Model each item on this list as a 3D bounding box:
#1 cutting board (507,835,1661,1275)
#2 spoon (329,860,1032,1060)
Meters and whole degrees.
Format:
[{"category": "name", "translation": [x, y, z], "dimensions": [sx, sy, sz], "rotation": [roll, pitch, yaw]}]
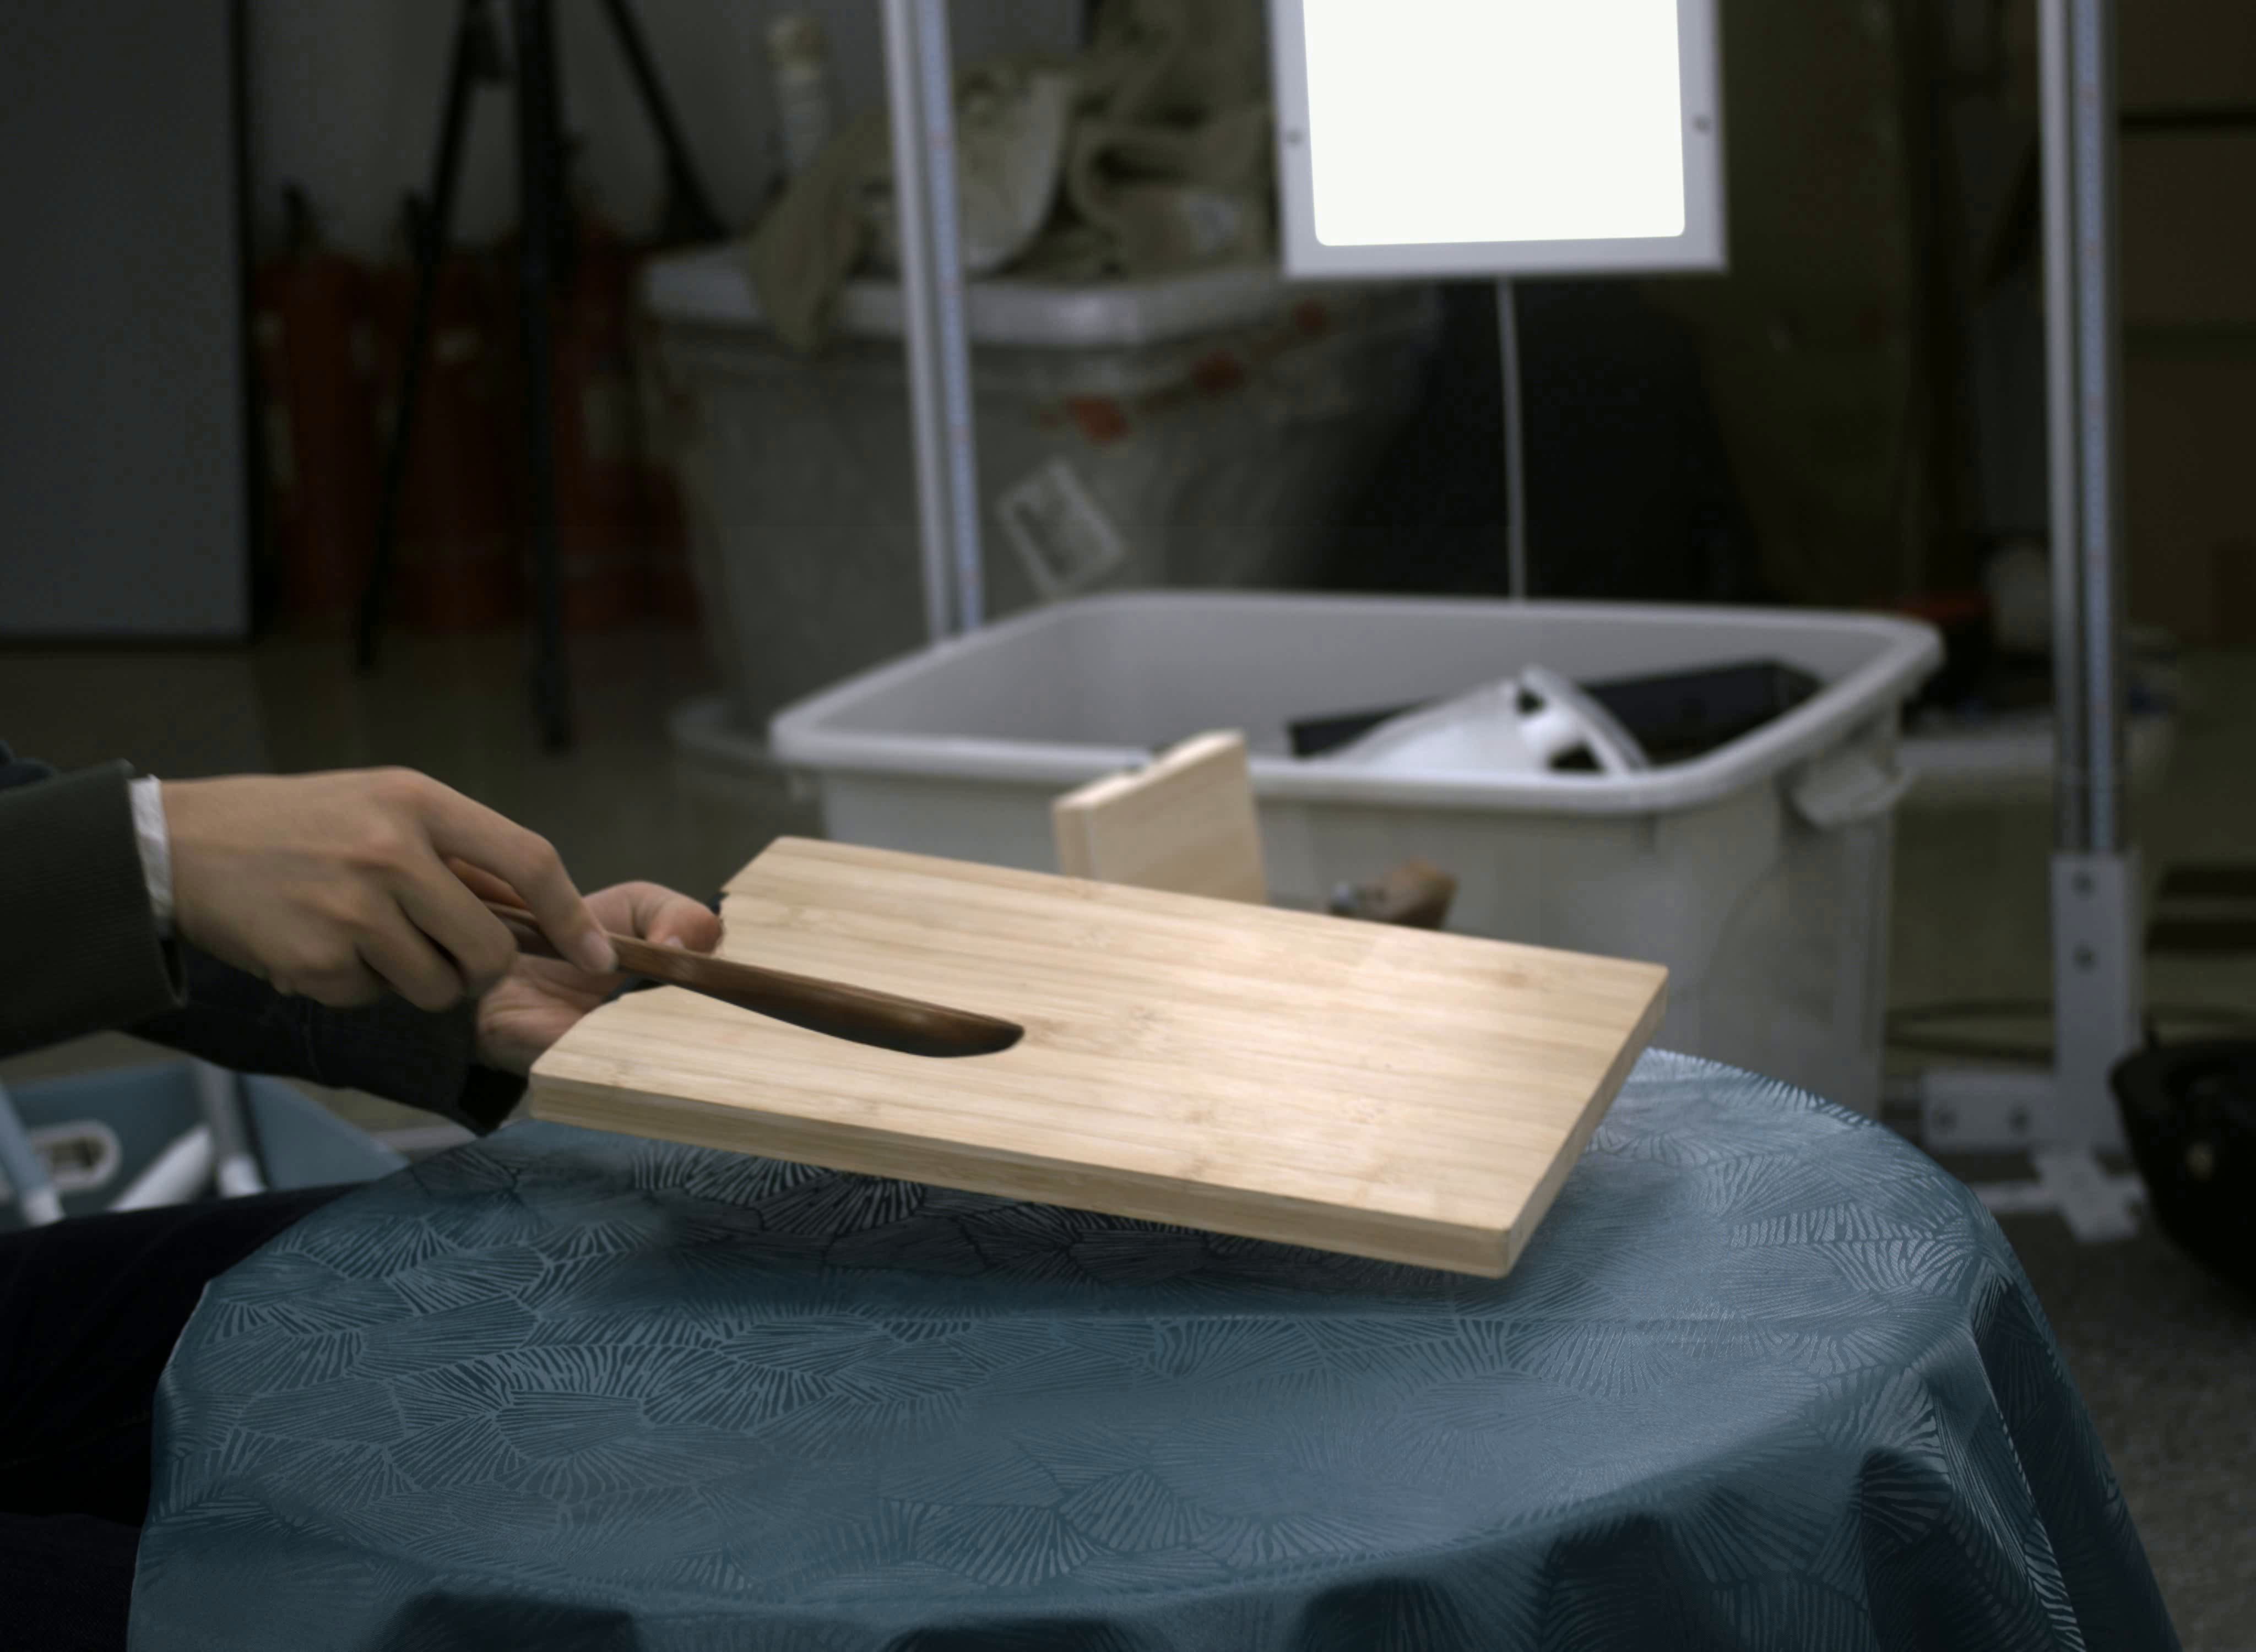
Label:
[{"category": "cutting board", "translation": [-0.009, 0.074, 1.901], "dimensions": [0.352, 0.024, 0.246], "rotation": [8, 21, 17]}, {"category": "spoon", "translation": [-0.133, 0.042, 1.648], "dimensions": [0.213, 0.017, 0.076], "rotation": [14, 3, -10]}]
